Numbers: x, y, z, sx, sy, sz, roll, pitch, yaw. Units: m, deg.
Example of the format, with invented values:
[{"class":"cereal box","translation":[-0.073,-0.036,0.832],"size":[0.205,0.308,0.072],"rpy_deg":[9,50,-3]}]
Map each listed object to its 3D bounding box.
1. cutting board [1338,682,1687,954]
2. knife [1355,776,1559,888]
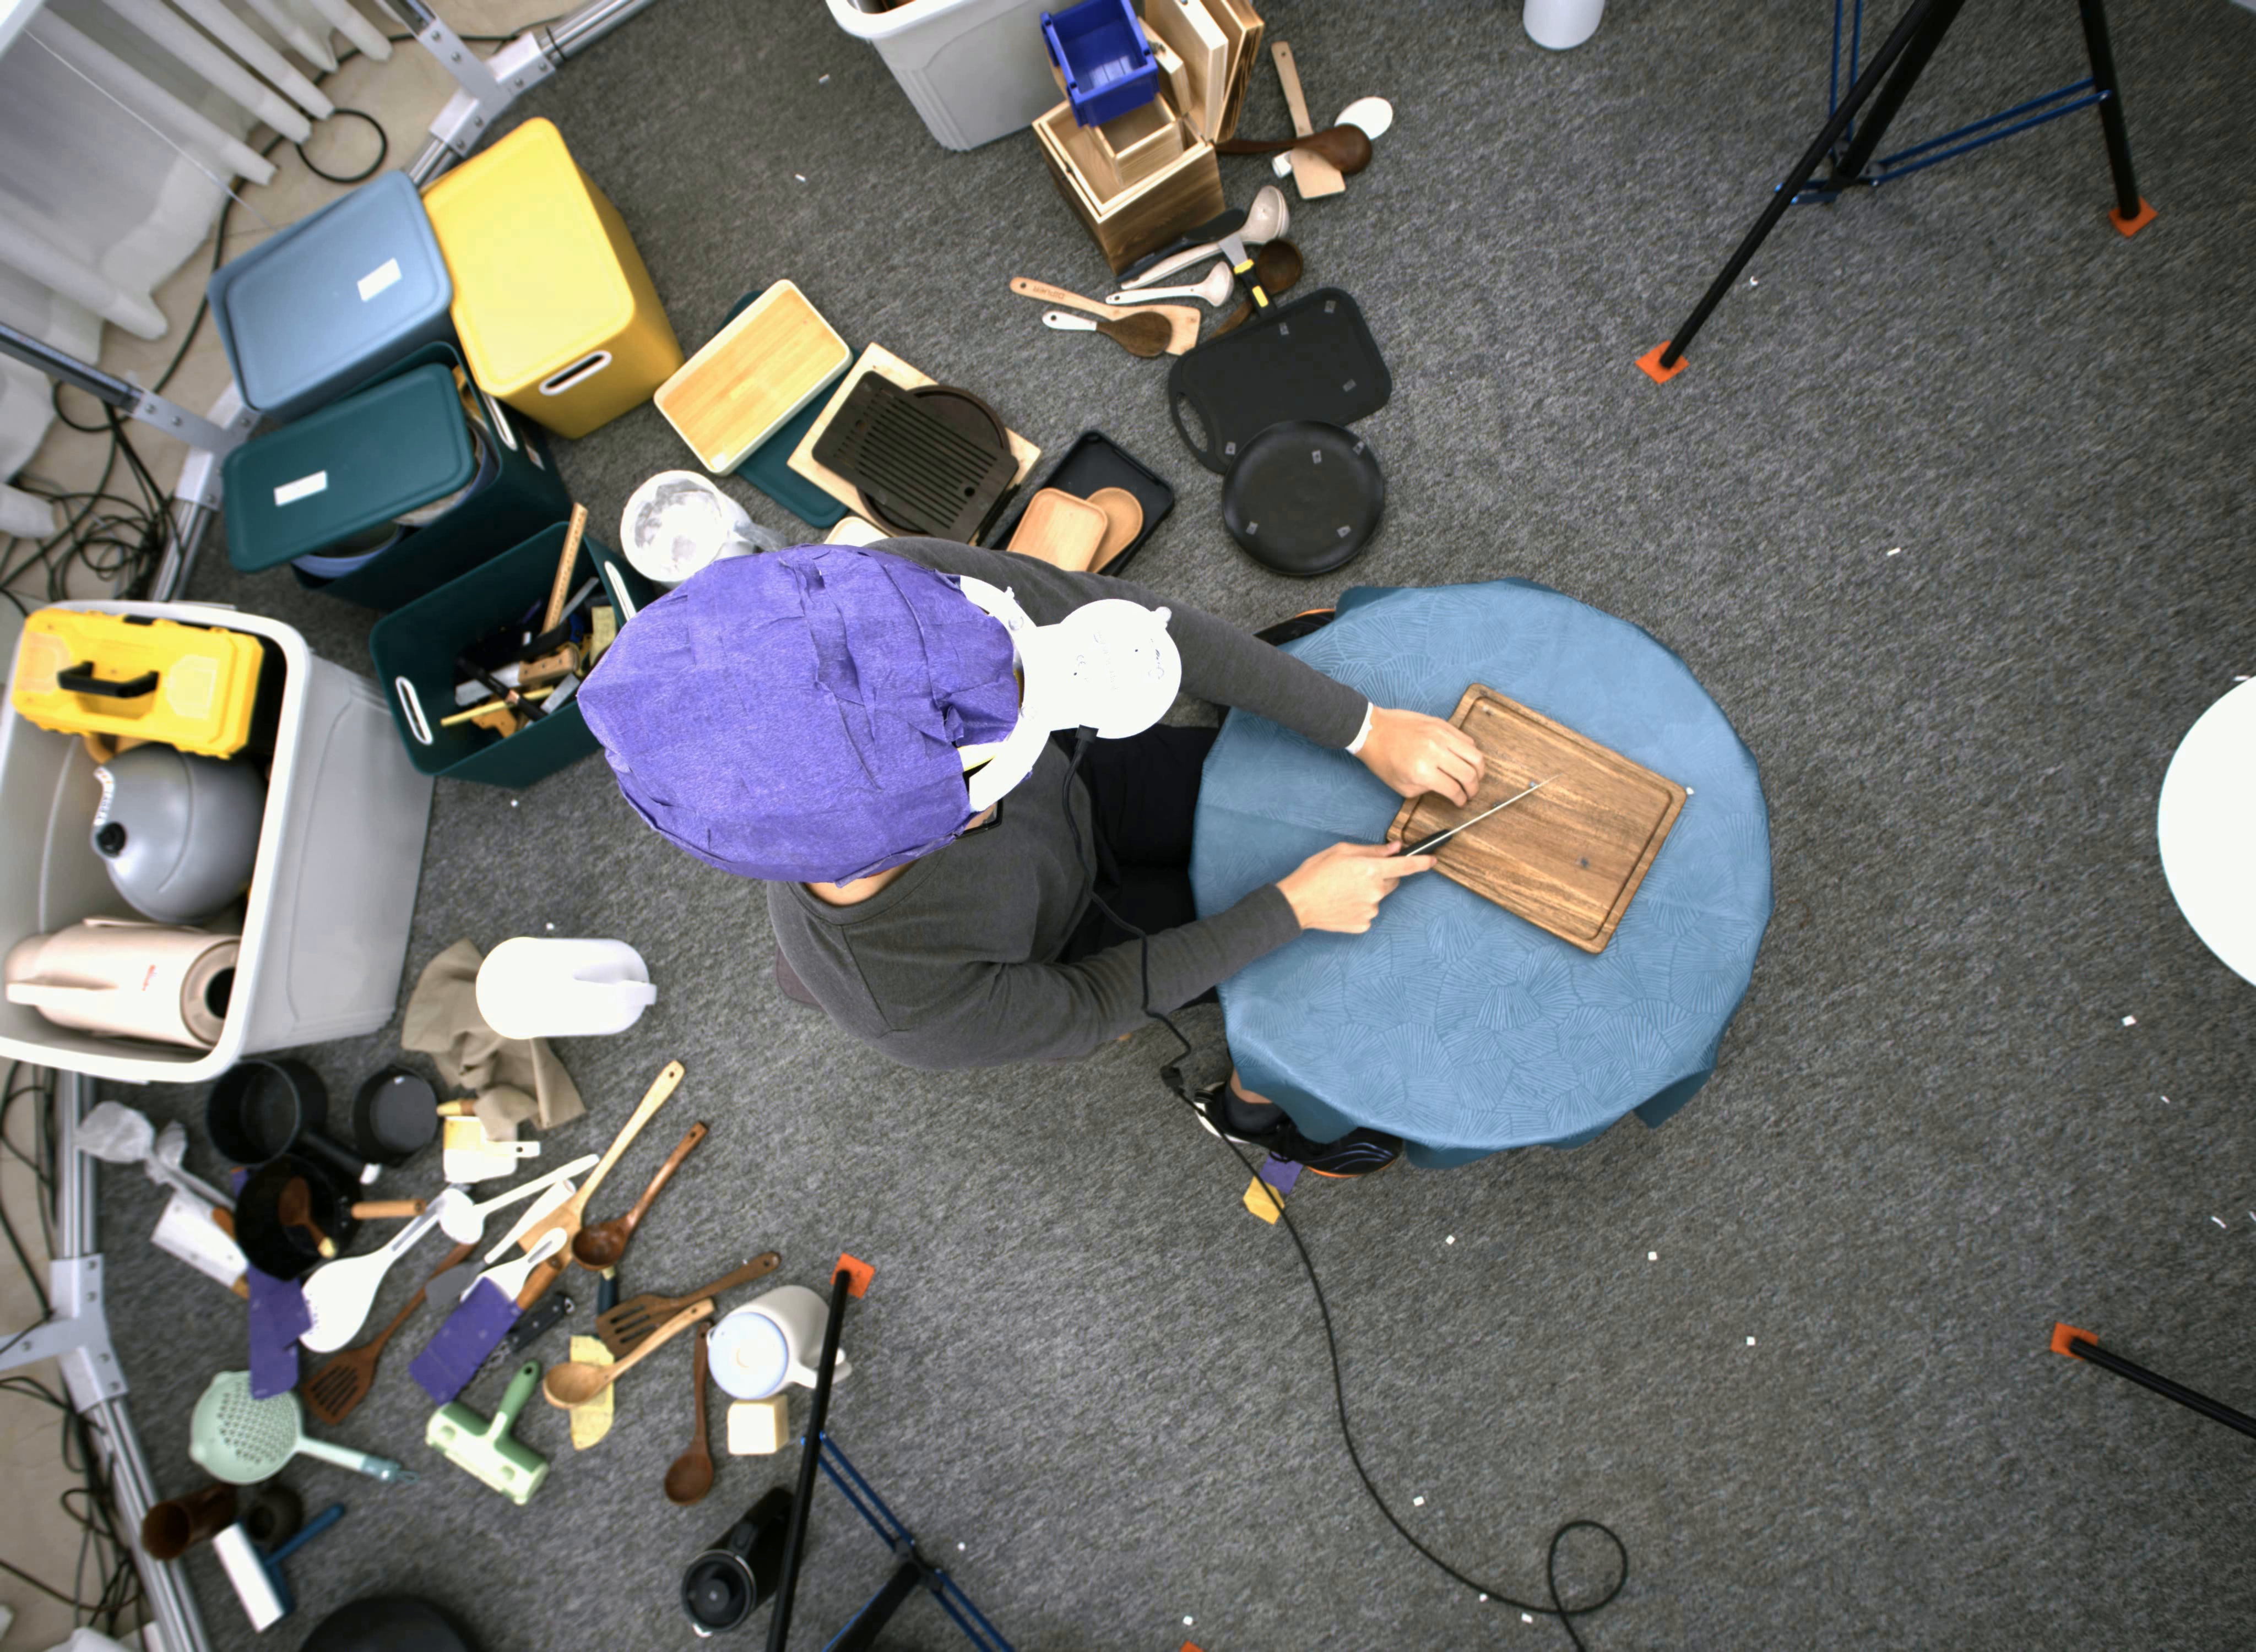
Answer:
[{"class":"cutting board","translation":[0.379,-0.036,1.435],"size":[0.351,0.023,0.201],"rpy_deg":[29,92,11]},{"class":"knife","translation":[0.340,0.001,1.418],"size":[0.239,0.024,0.016],"rpy_deg":[-28,77,3]}]
